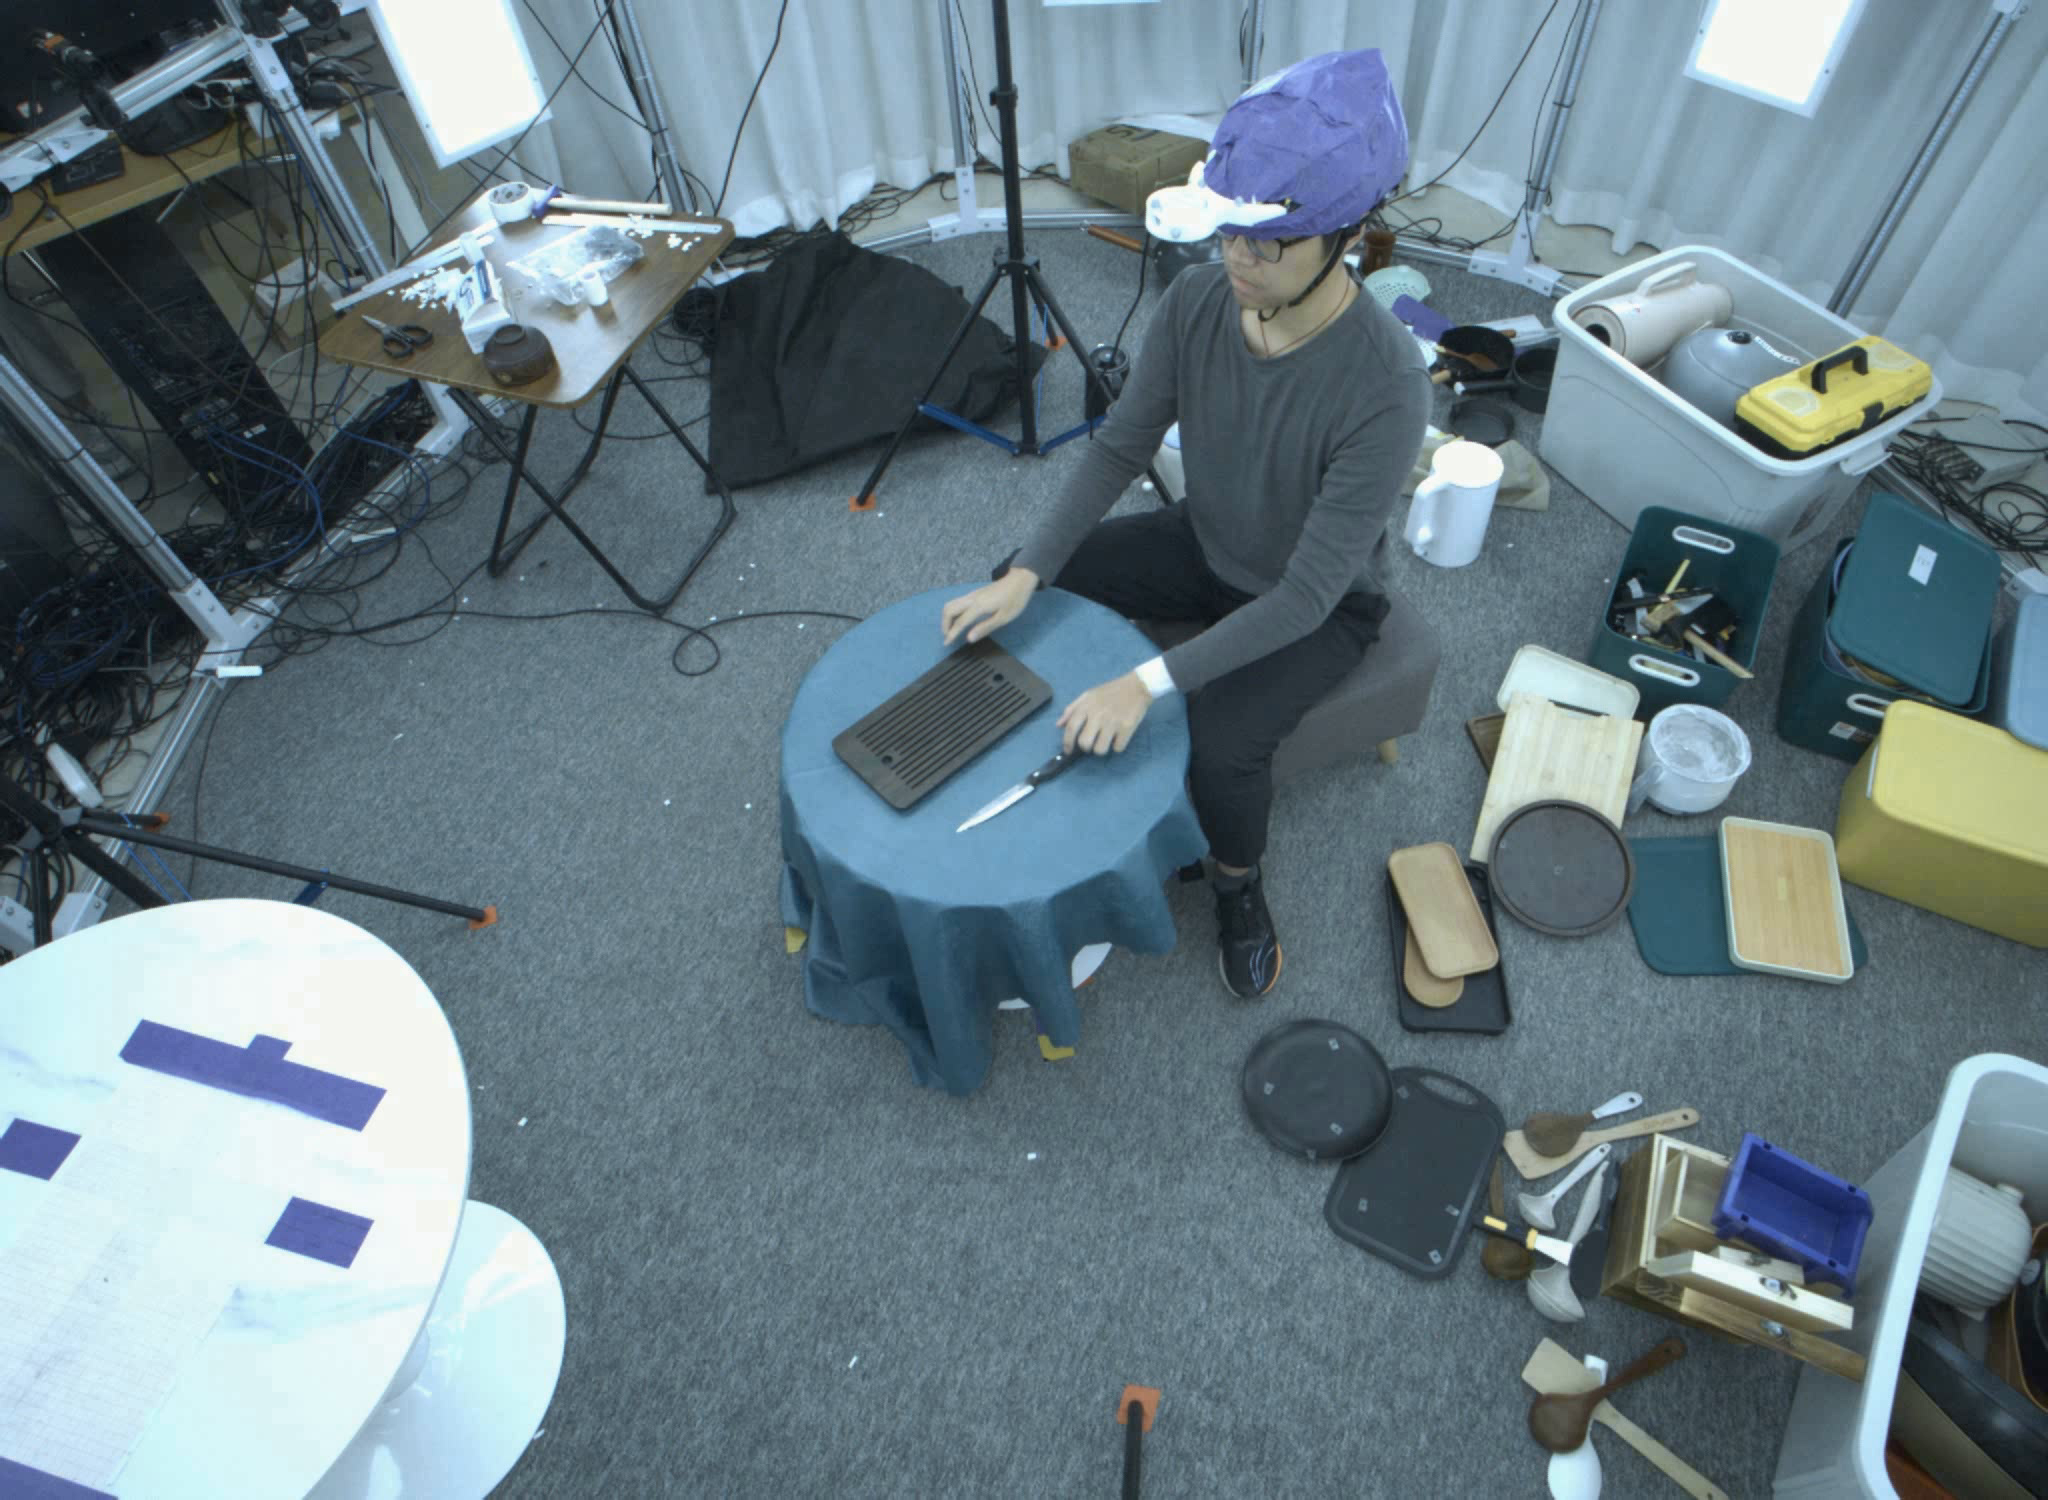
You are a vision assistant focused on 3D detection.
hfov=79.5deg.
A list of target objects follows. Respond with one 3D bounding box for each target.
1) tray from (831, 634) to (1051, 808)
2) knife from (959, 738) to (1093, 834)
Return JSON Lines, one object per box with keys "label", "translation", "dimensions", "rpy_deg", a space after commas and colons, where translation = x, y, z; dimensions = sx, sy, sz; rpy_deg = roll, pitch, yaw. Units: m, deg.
{"label": "tray", "translation": [-0.121, -0.047, 1.821], "dimensions": [0.308, 0.019, 0.167], "rpy_deg": [-38, 62, -23]}
{"label": "knife", "translation": [0.001, 0.051, 1.752], "dimensions": [0.240, 0.016, 0.024], "rpy_deg": [-34, 59, -18]}
